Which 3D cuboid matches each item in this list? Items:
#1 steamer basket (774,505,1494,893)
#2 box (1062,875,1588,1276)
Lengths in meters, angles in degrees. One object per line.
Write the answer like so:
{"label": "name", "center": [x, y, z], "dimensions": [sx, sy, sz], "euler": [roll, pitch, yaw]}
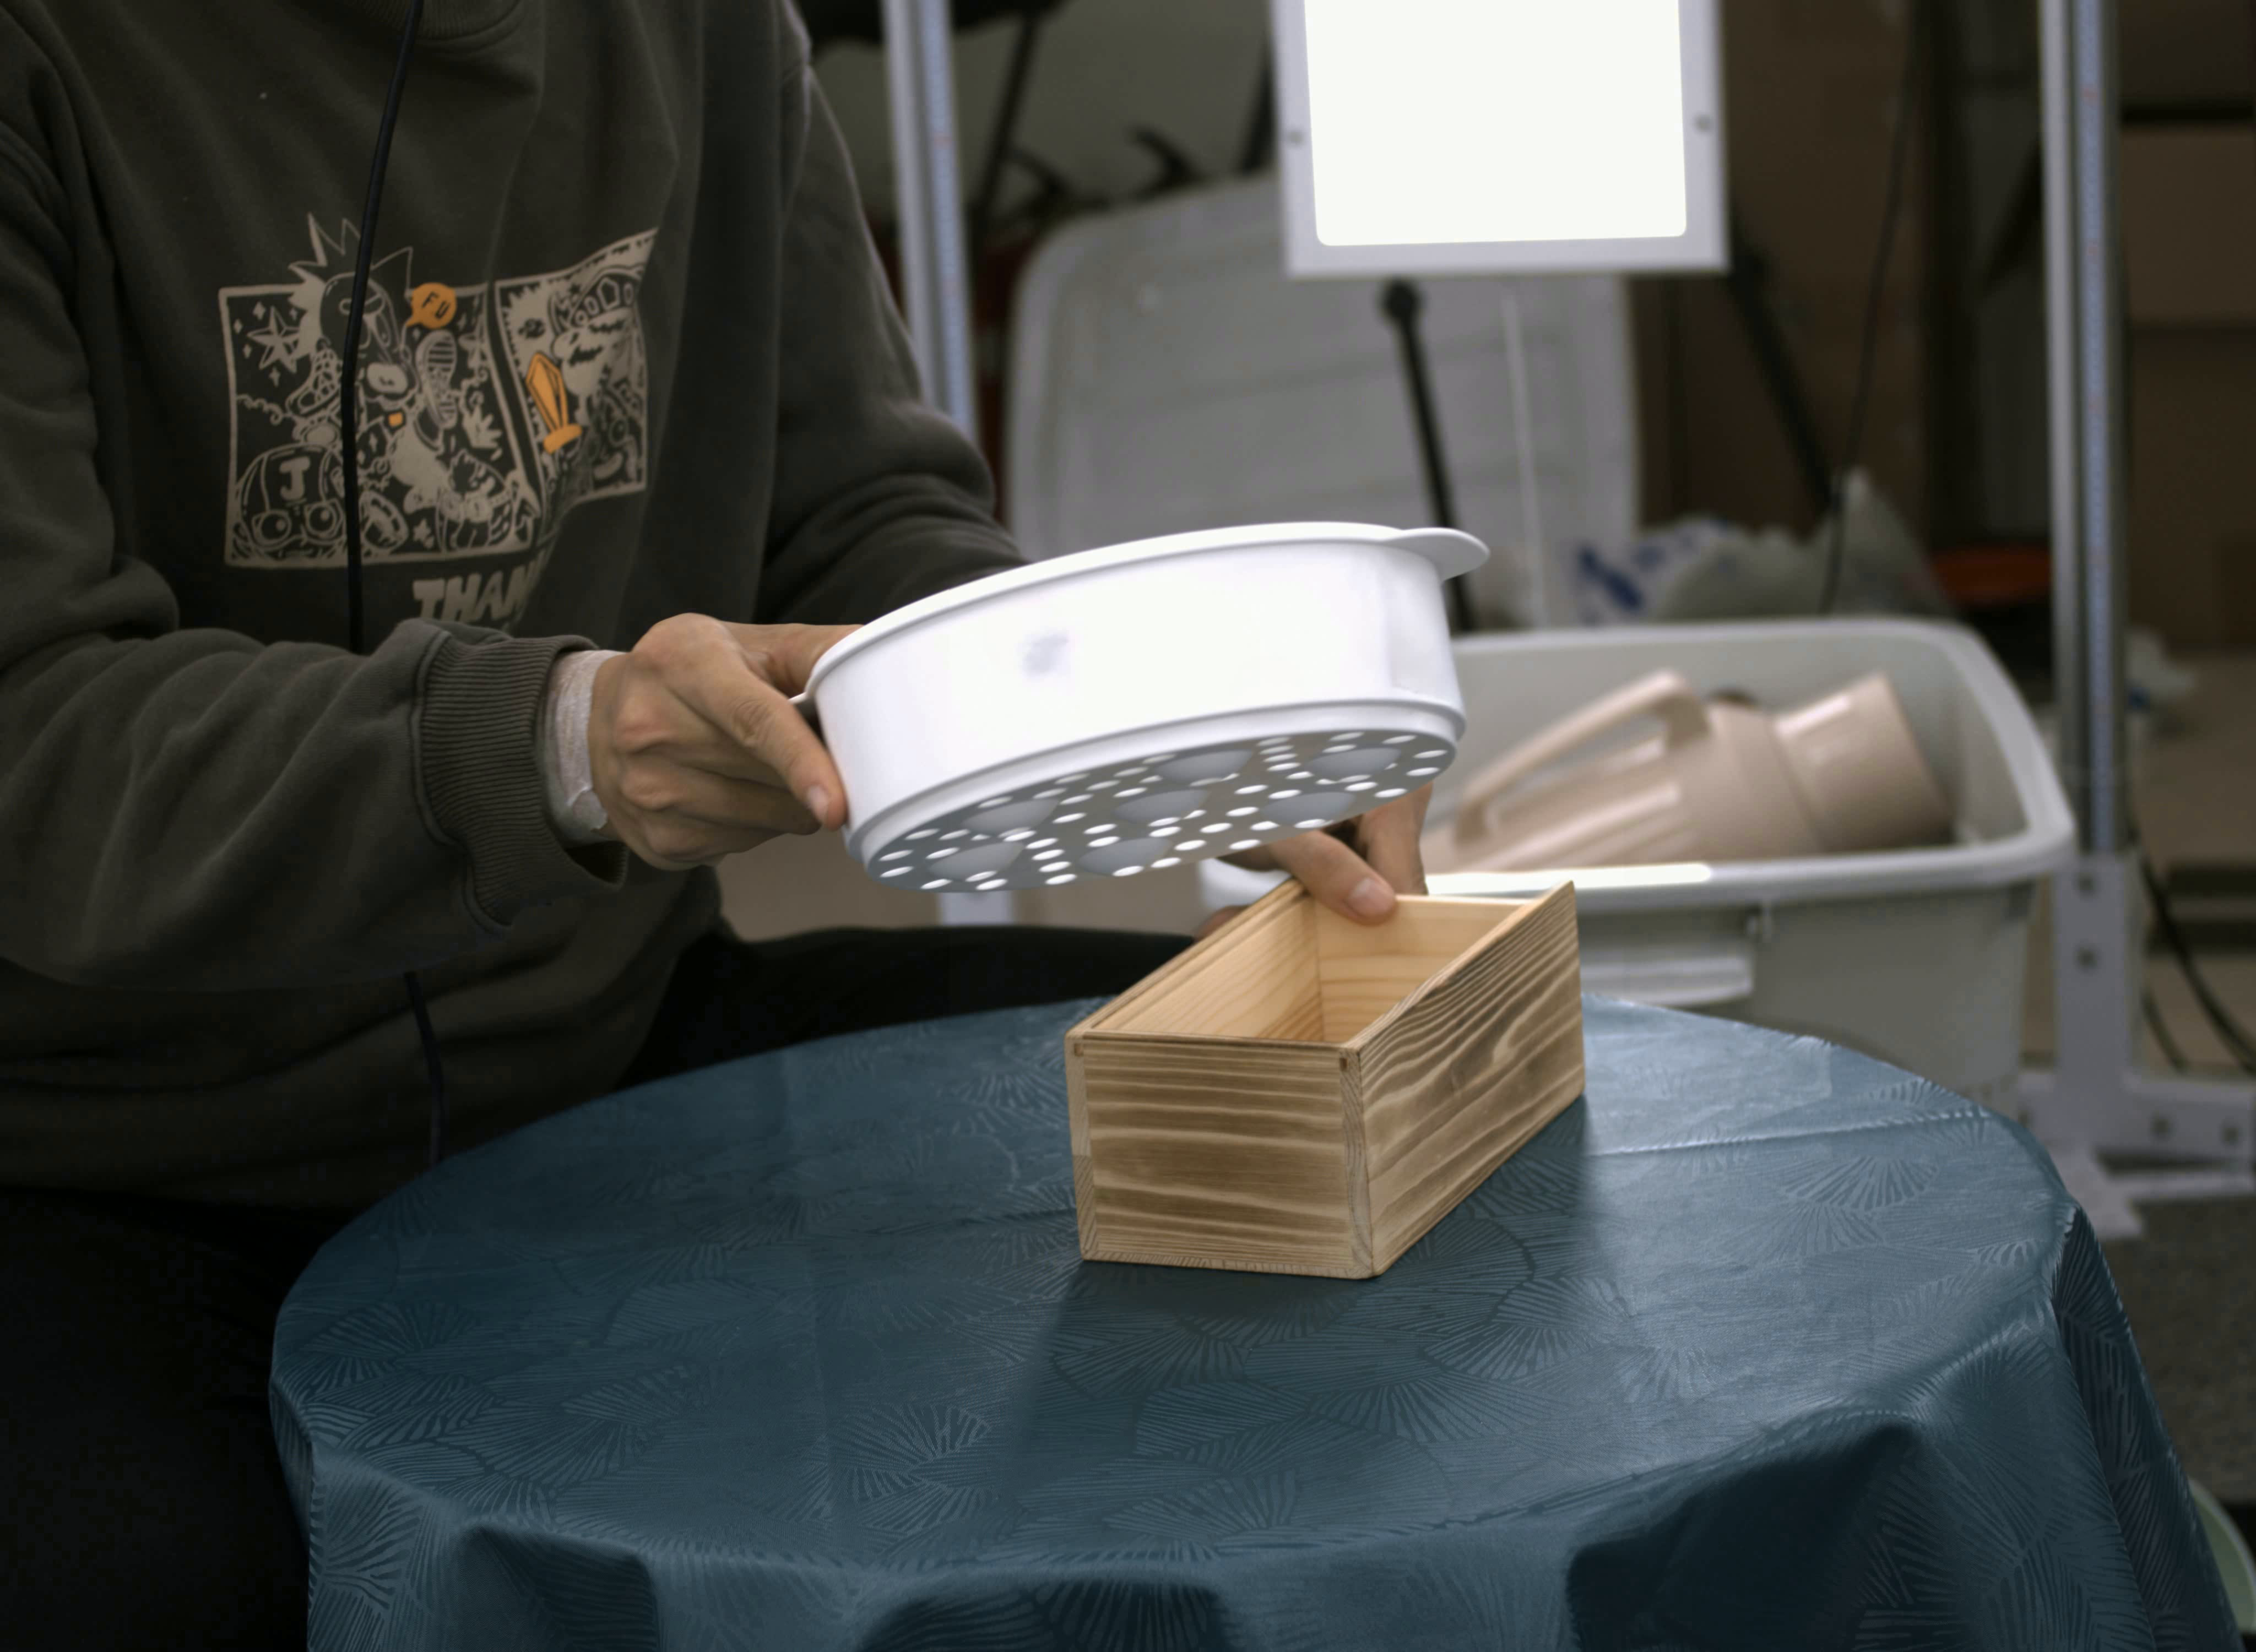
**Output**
{"label": "steamer basket", "center": [0.007, -0.034, 1.677], "dimensions": [0.233, 0.069, 0.199], "euler": [-16, -12, 19]}
{"label": "box", "center": [0.072, 0.082, 1.885], "dimensions": [0.109, 0.080, 0.207], "euler": [1, 15, 25]}
